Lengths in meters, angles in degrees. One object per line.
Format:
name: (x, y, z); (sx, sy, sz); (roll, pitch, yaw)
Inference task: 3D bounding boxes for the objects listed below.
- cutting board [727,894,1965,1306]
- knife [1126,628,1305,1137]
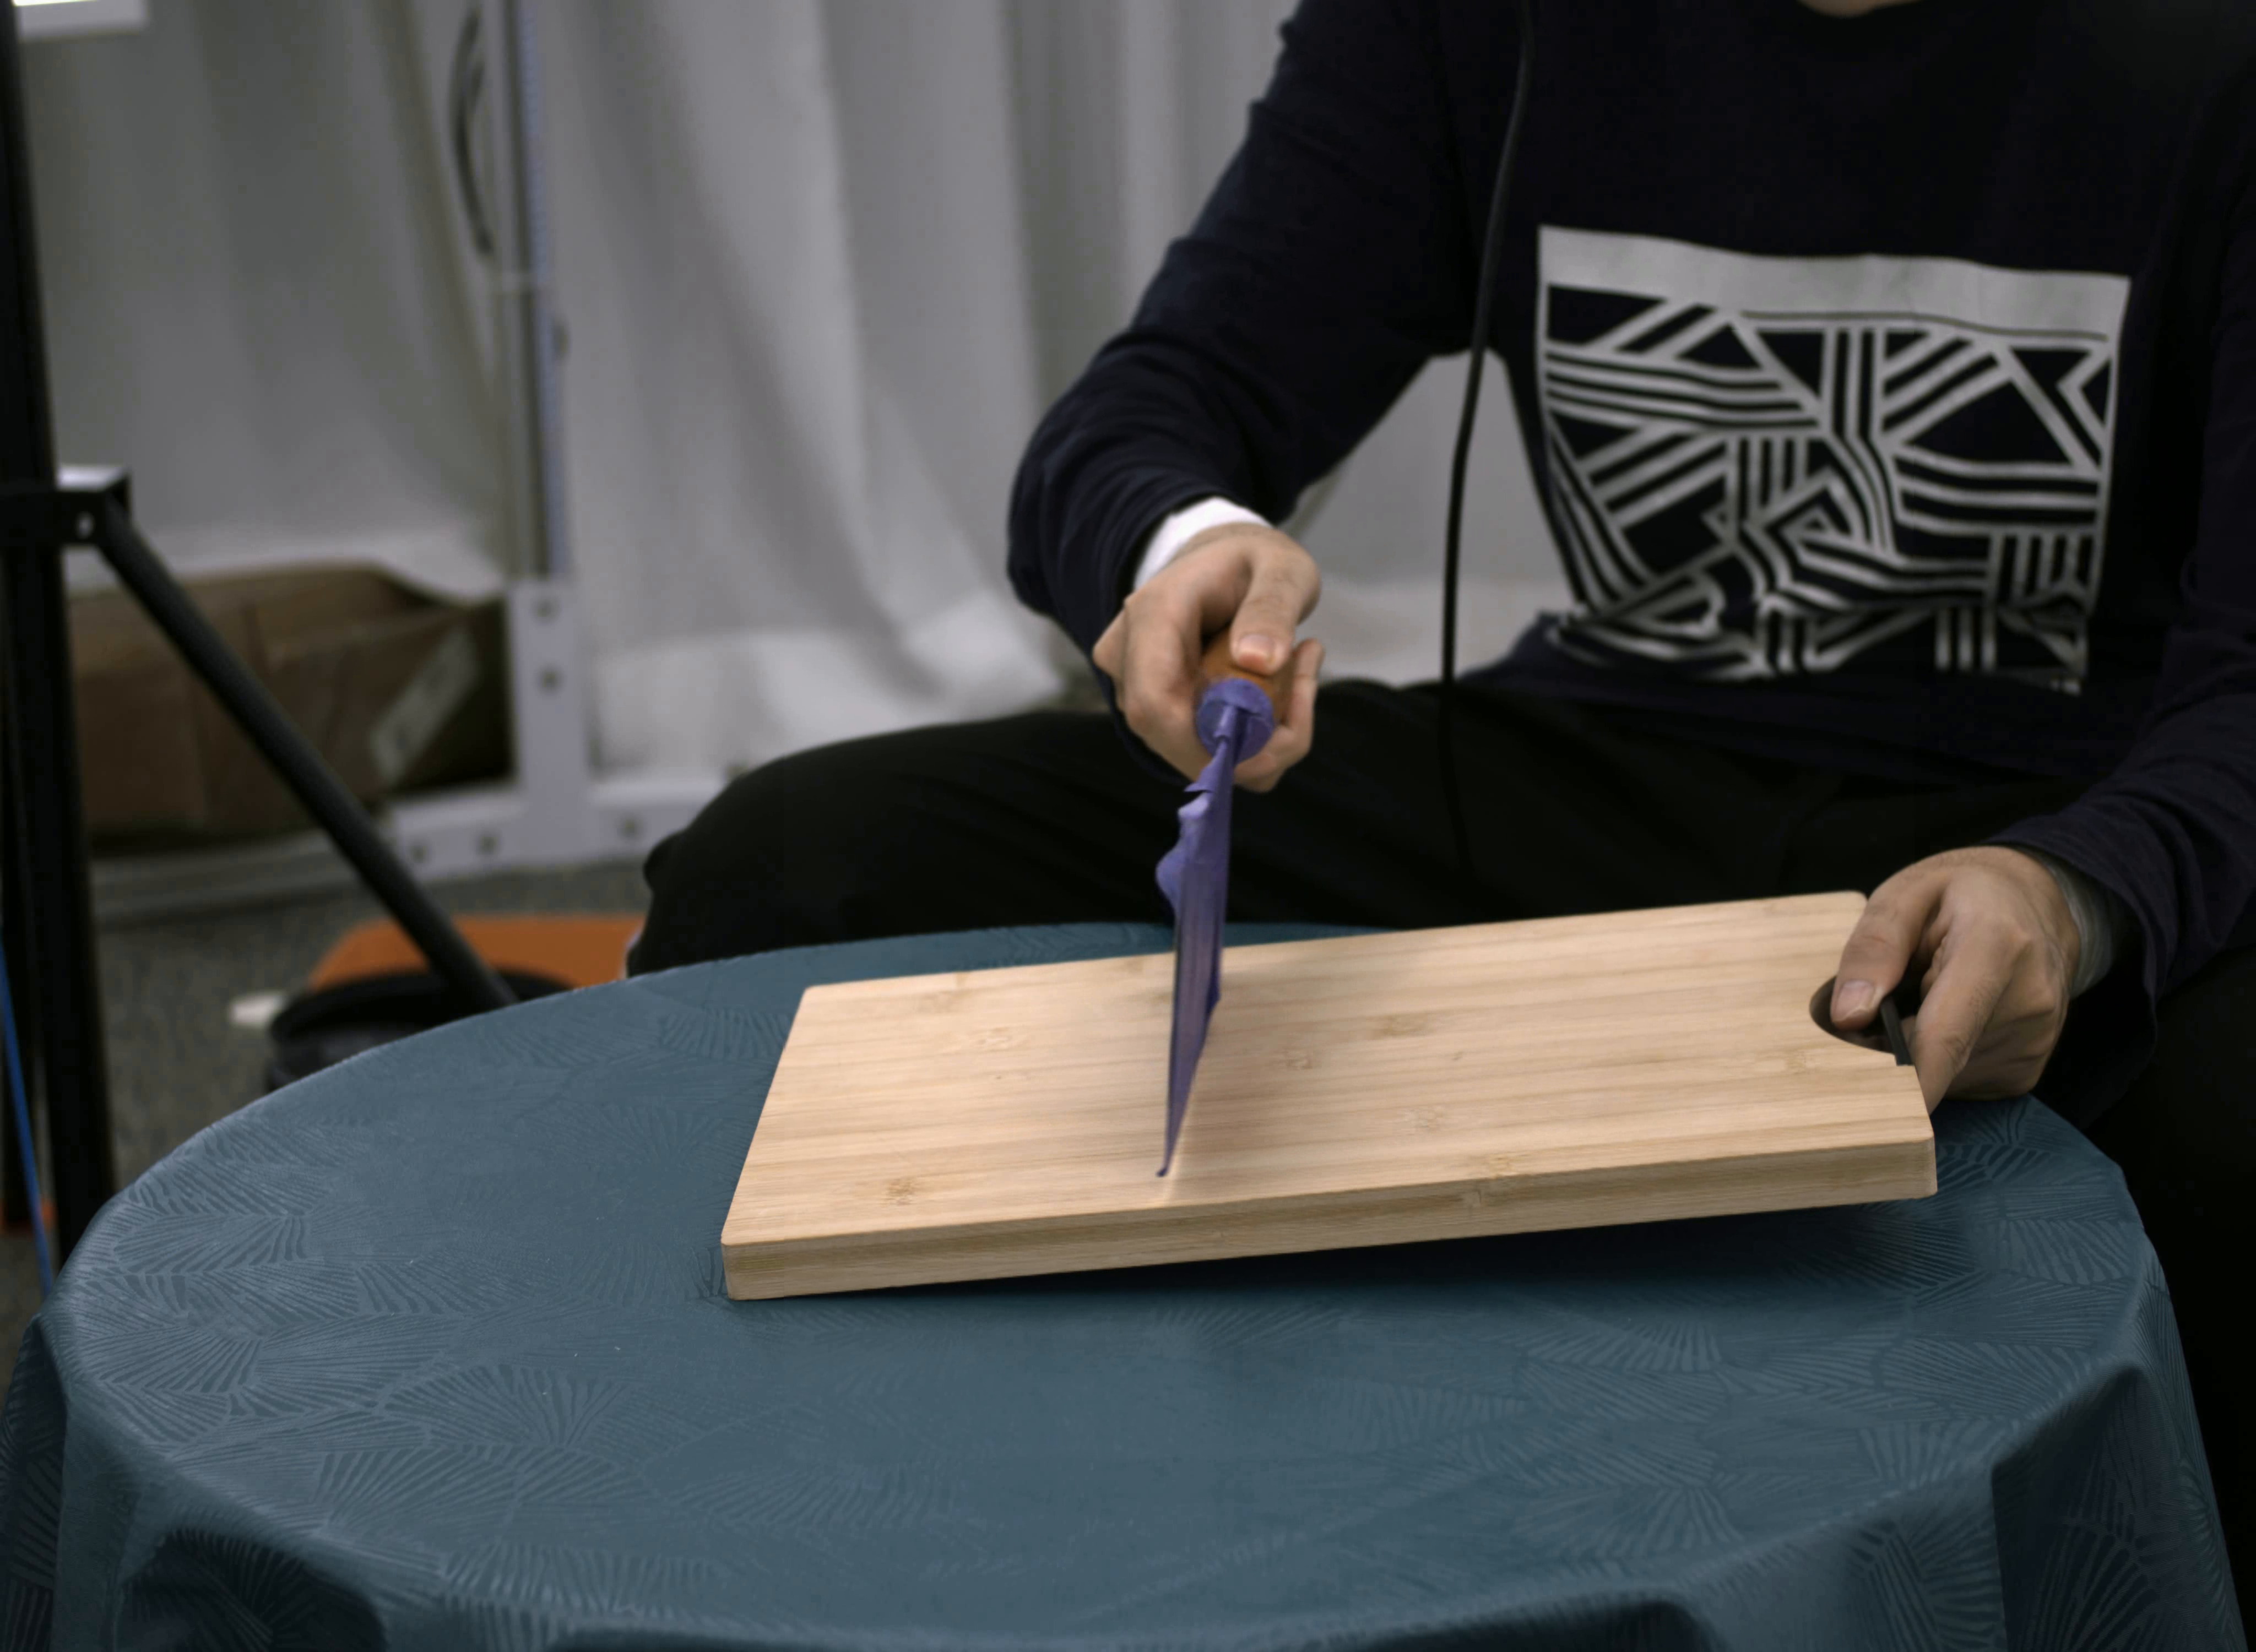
cutting board: (0.065, 0.078, 1.582); (0.348, 0.023, 0.251); (-6, 16, 5)
knife: (0.024, 0.014, 1.612); (0.032, 0.104, 0.314); (5, 14, 6)
